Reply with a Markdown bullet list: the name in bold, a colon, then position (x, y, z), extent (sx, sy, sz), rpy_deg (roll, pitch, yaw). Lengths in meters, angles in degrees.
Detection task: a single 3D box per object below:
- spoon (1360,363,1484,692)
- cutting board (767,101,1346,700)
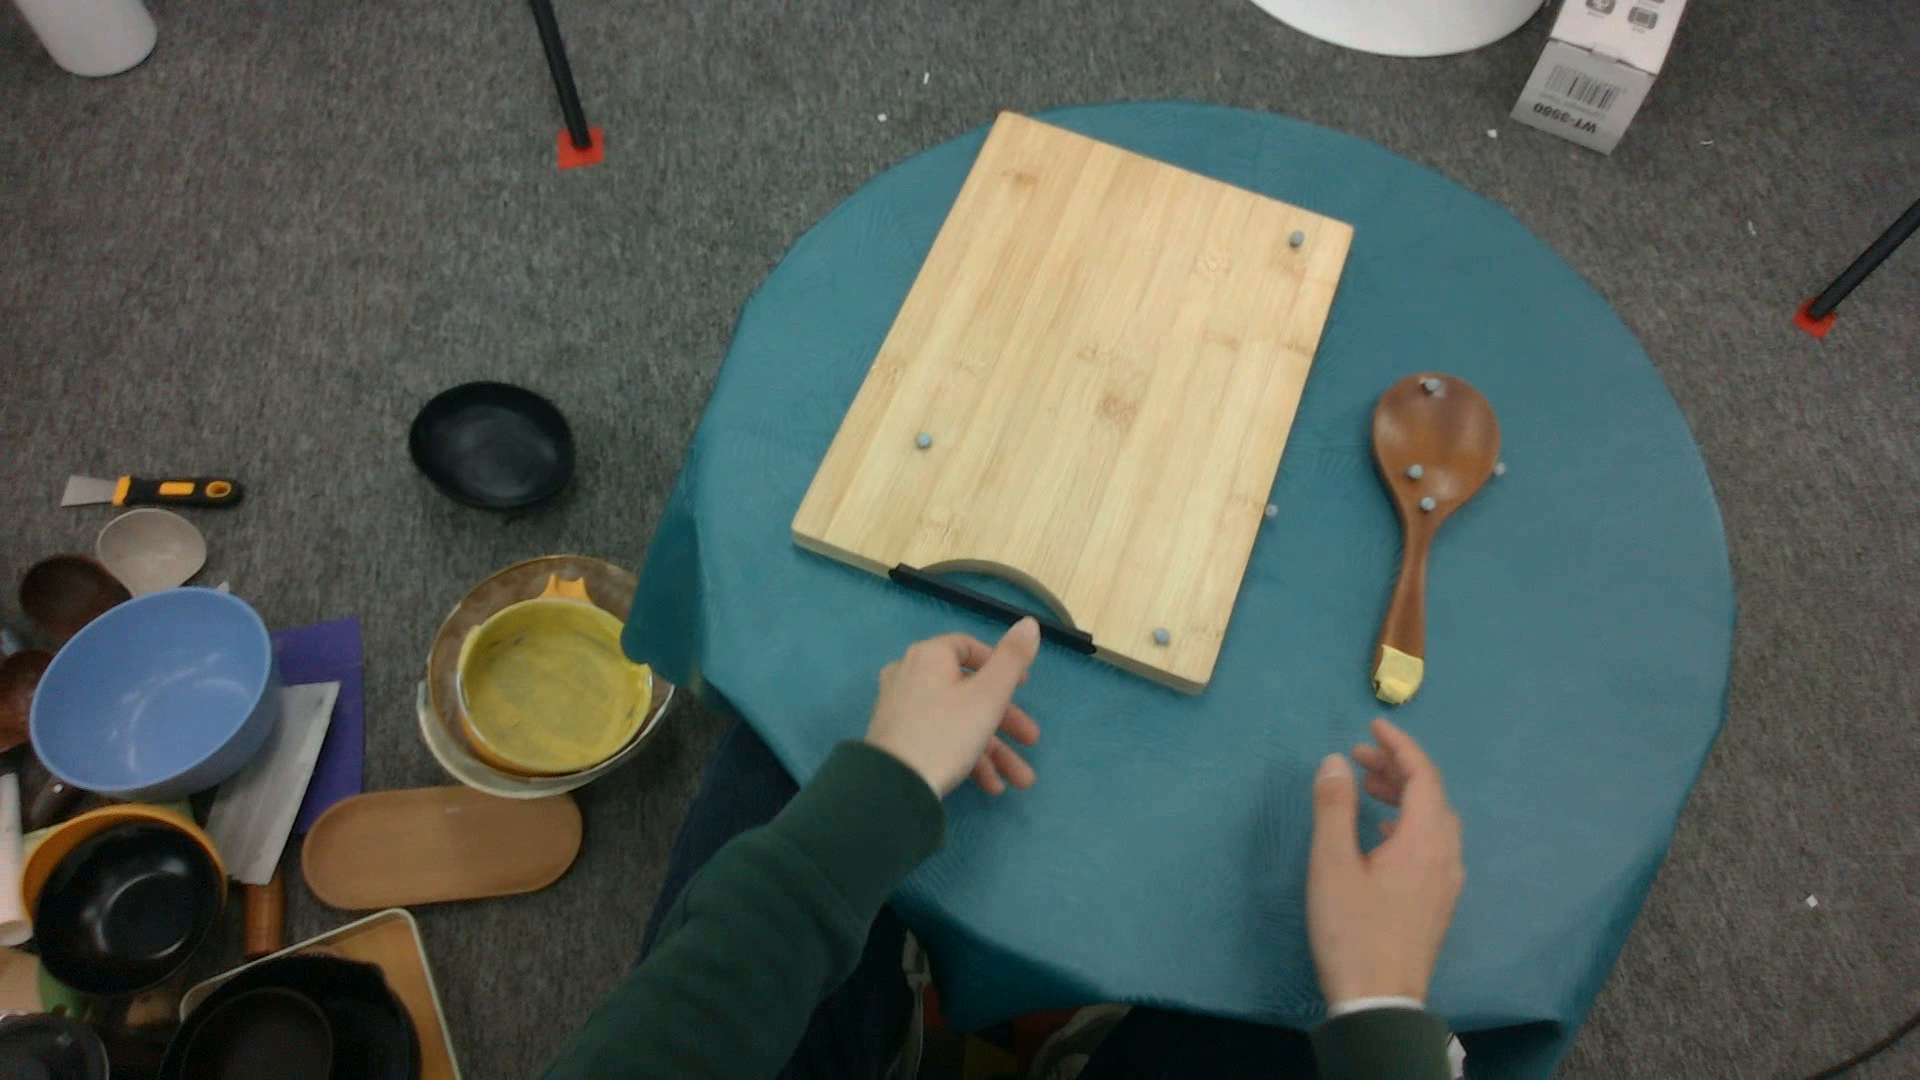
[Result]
- **spoon**: position (0.254, -0.011, 0.784), extent (0.075, 0.017, 0.217), rpy_deg (17, 62, 2)
- **cutting board**: position (0.070, -0.100, 0.814), extent (0.250, 0.023, 0.350), rpy_deg (20, 62, 6)
